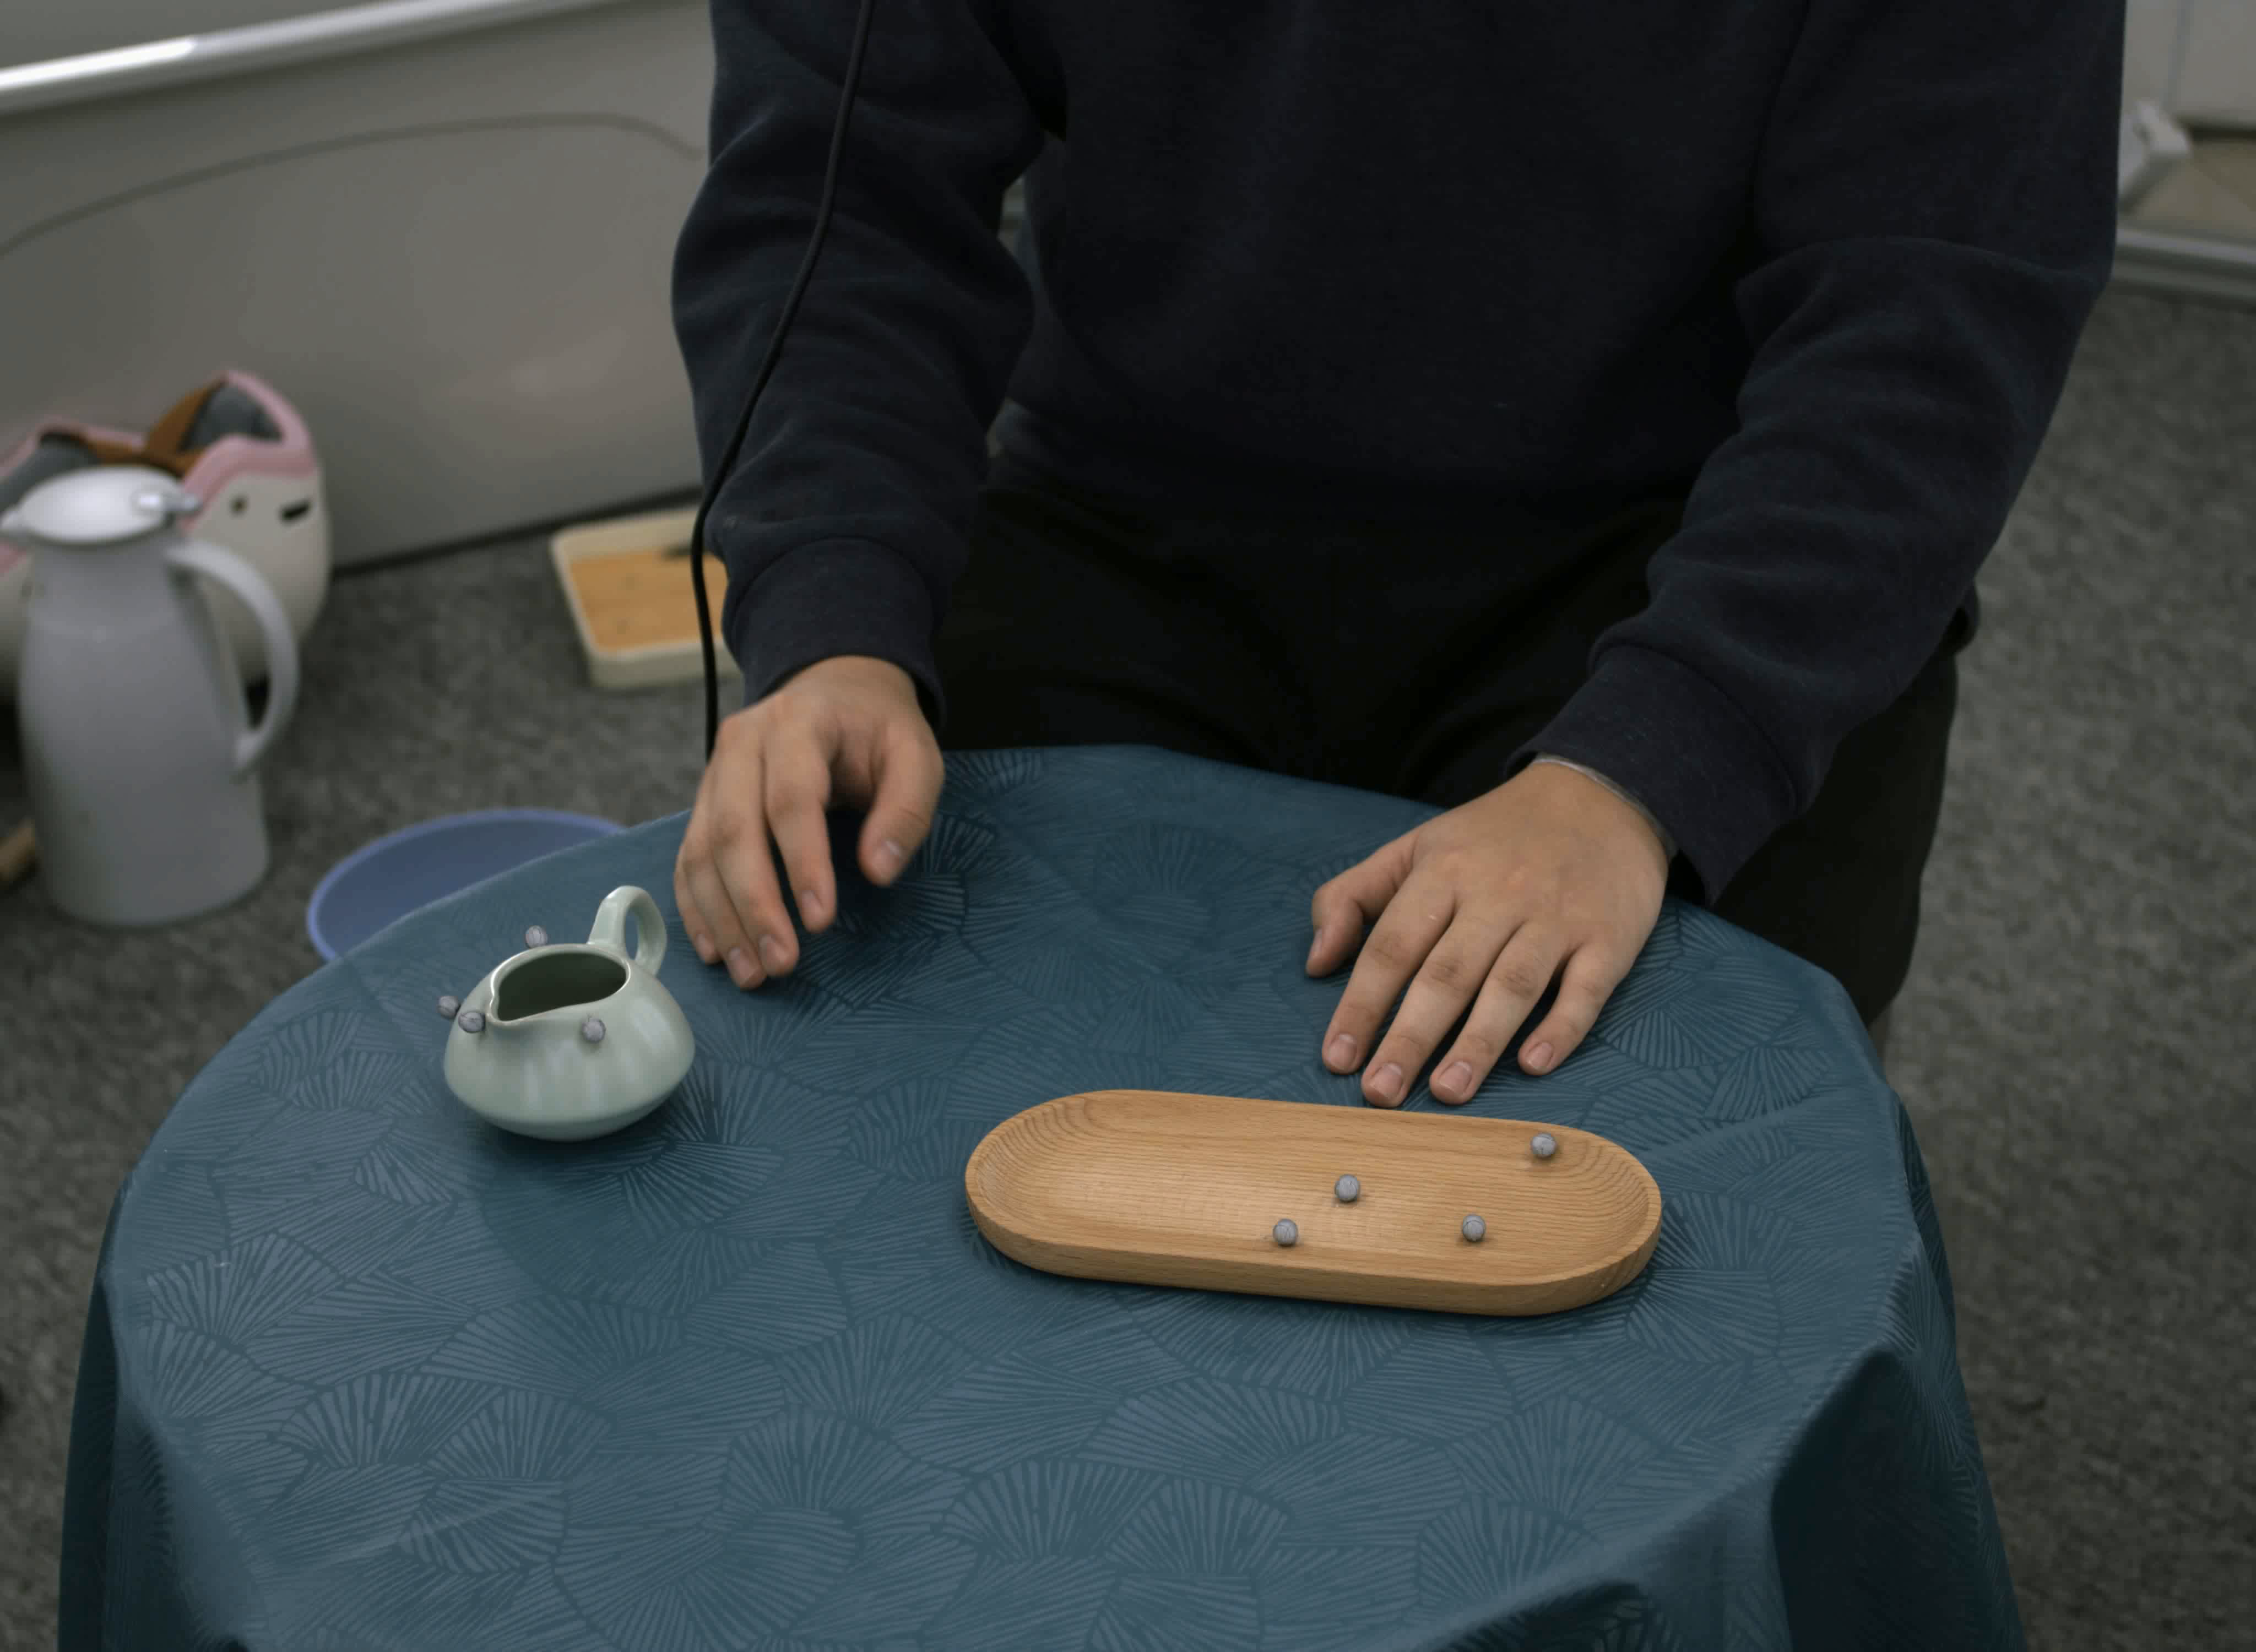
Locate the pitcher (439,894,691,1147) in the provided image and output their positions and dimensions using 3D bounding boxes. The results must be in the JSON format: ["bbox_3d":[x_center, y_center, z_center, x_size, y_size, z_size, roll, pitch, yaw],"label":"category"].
[{"bbox_3d":[-0.188,0.068,1.926,0.085,0.060,0.110,9,27,19],"label":"pitcher"}]

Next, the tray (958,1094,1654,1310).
[{"bbox_3d":[0.057,0.123,1.840,0.229,0.020,0.103,2,26,13],"label":"tray"}]
